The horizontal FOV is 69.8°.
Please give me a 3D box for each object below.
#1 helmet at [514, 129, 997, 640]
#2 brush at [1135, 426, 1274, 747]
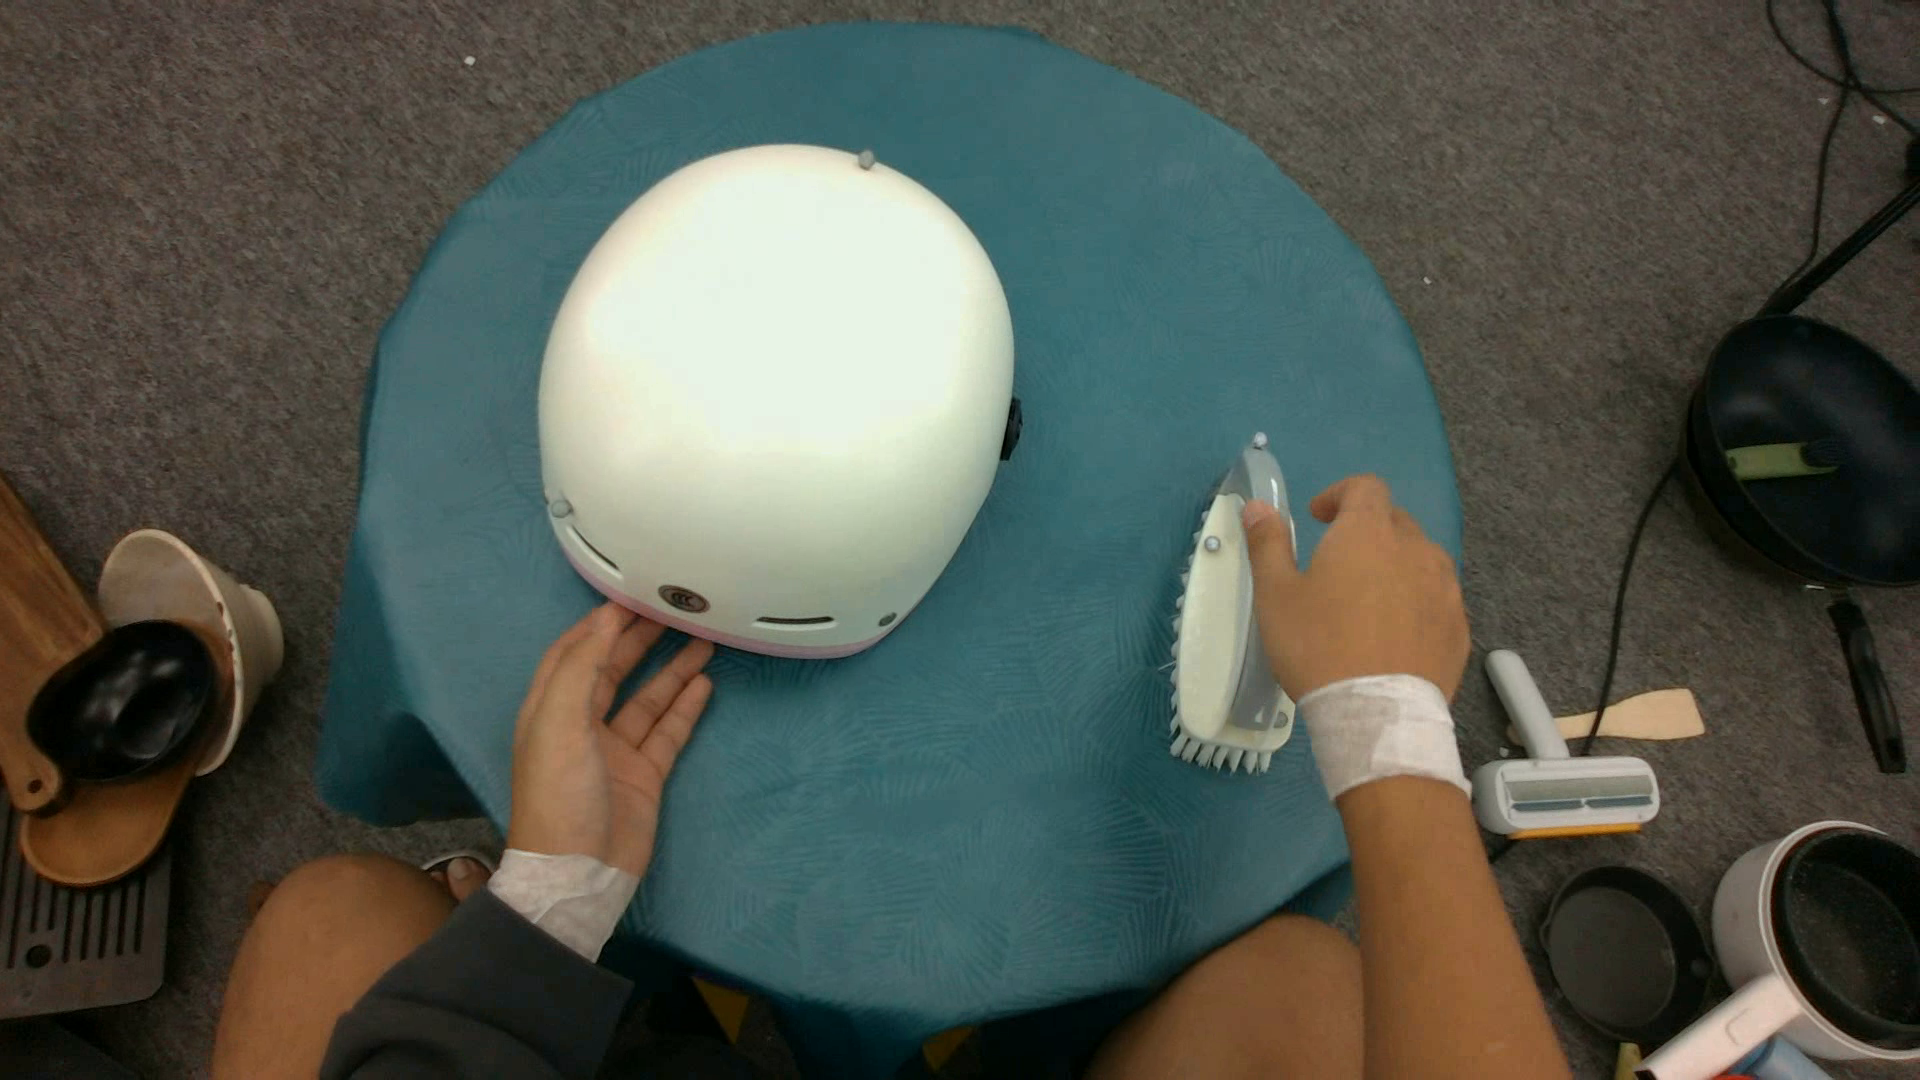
[{"bbox_3d":[-0.097,-0.098,0.669,0.237,0.166,0.270,20,64,0],"label":"helmet"},{"bbox_3d":[0.131,0.009,0.702,0.061,0.094,0.176,12,61,-4],"label":"brush"}]
